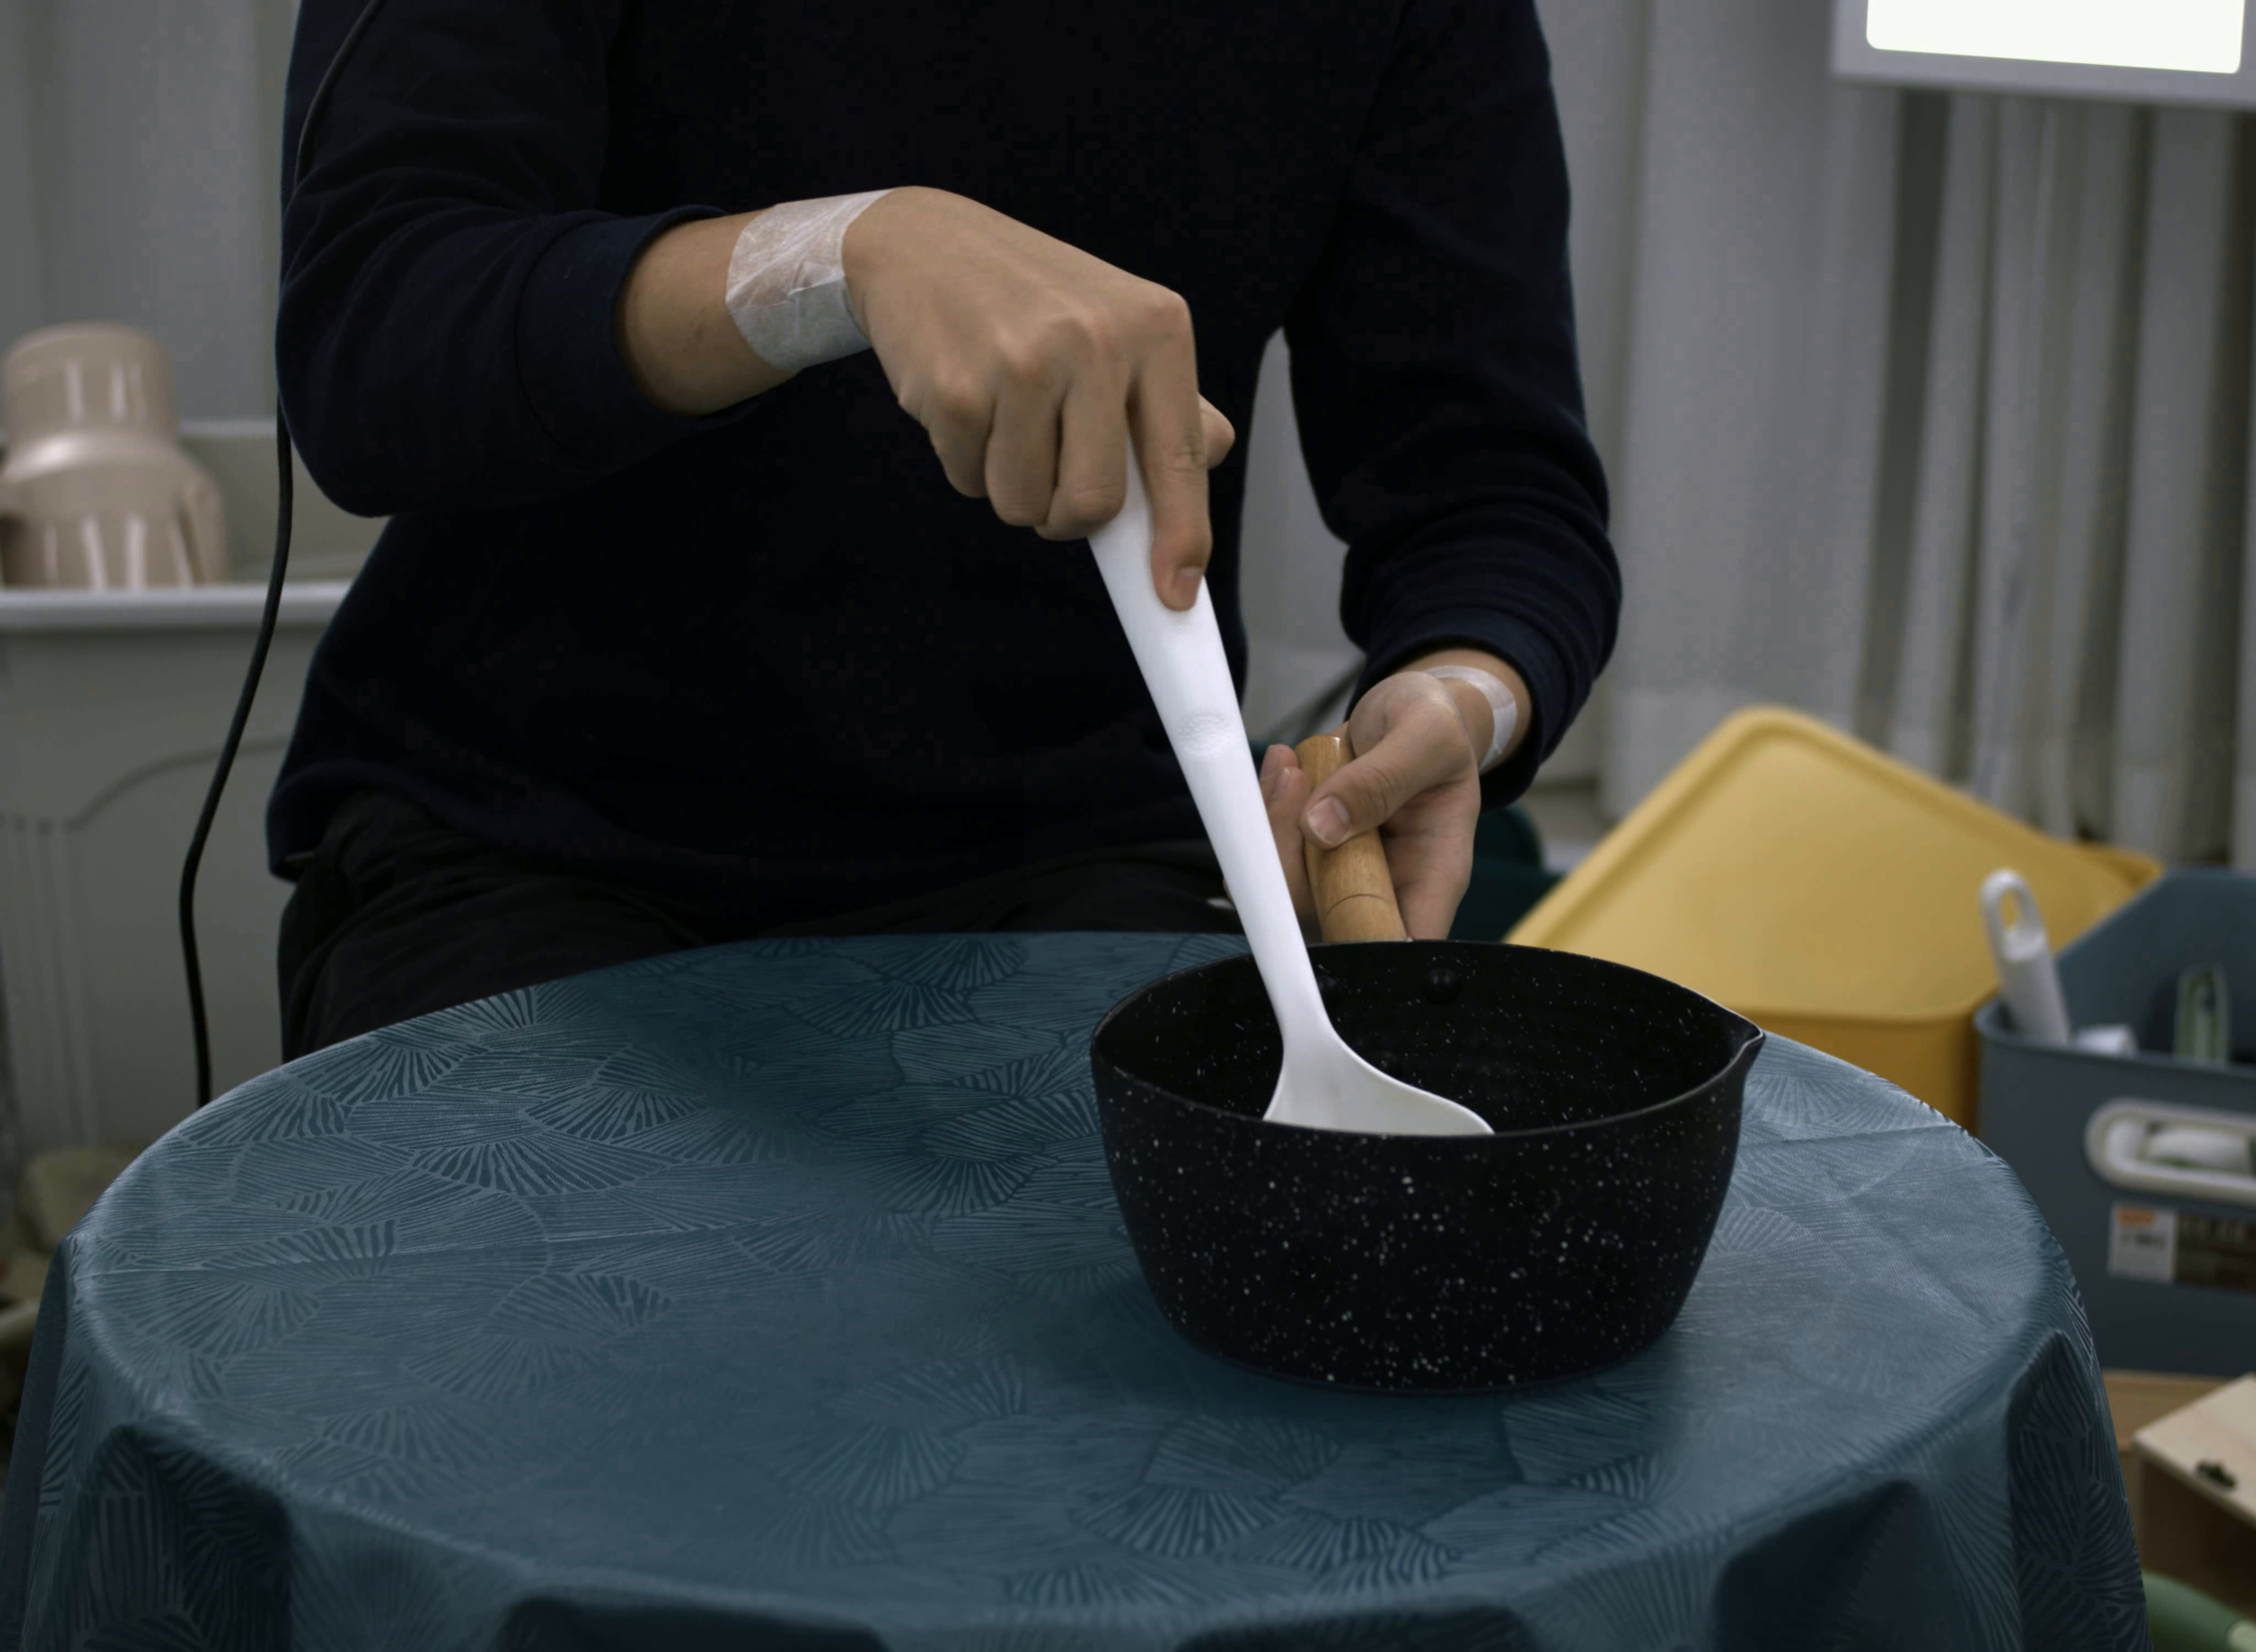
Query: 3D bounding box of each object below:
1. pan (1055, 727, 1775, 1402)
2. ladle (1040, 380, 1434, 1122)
[{"bbox_3d":[0.076,0.066,1.589,0.207,0.109,0.340,-2,17,-6],"label":"pan"},{"bbox_3d":[0.024,0.004,1.552,0.090,0.292,0.070,-19,-11,12],"label":"ladle"}]
